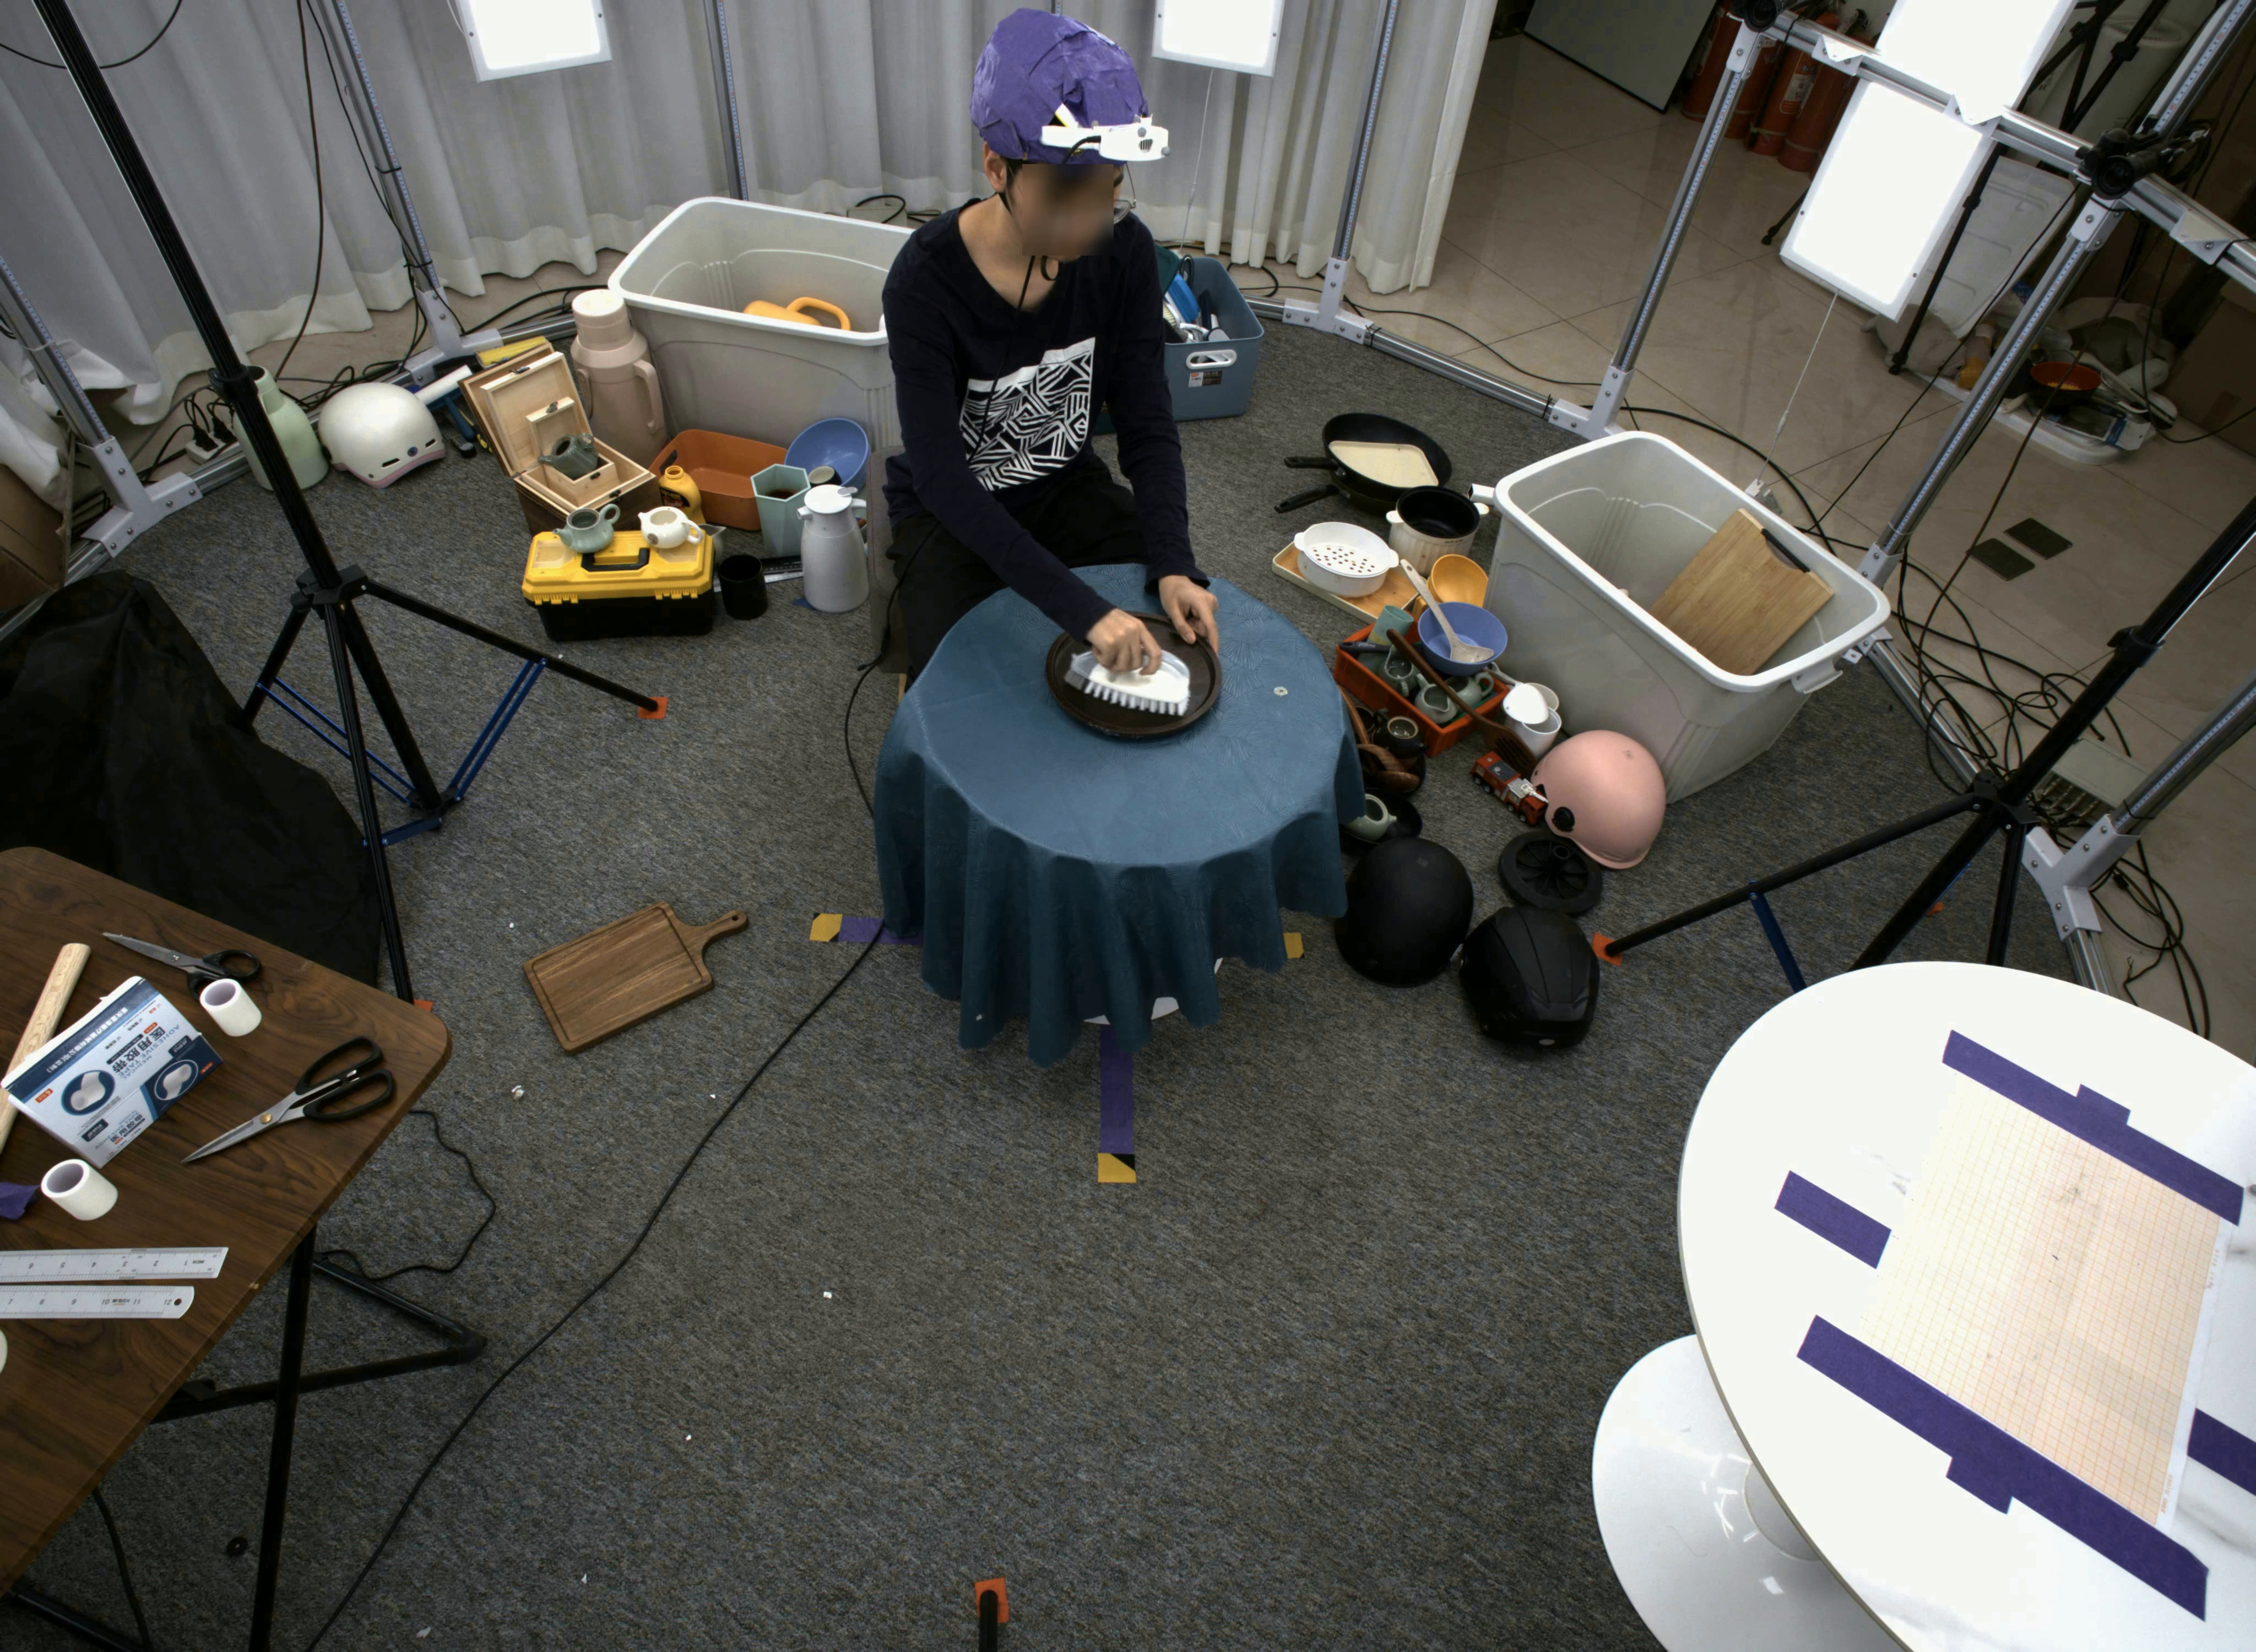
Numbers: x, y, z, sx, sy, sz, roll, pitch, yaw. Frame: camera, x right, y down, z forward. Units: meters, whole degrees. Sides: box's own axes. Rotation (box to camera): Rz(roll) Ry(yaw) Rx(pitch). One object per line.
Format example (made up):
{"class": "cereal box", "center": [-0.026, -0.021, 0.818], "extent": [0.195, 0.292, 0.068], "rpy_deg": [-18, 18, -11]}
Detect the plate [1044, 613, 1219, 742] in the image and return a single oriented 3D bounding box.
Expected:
{"class": "plate", "center": [0.005, -0.214, 1.843], "extent": [0.254, 0.028, 0.261], "rpy_deg": [2, 49, -2]}

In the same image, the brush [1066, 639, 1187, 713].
{"class": "brush", "center": [-0.002, -0.218, 1.770], "extent": [0.176, 0.092, 0.063], "rpy_deg": [14, 50, 10]}
